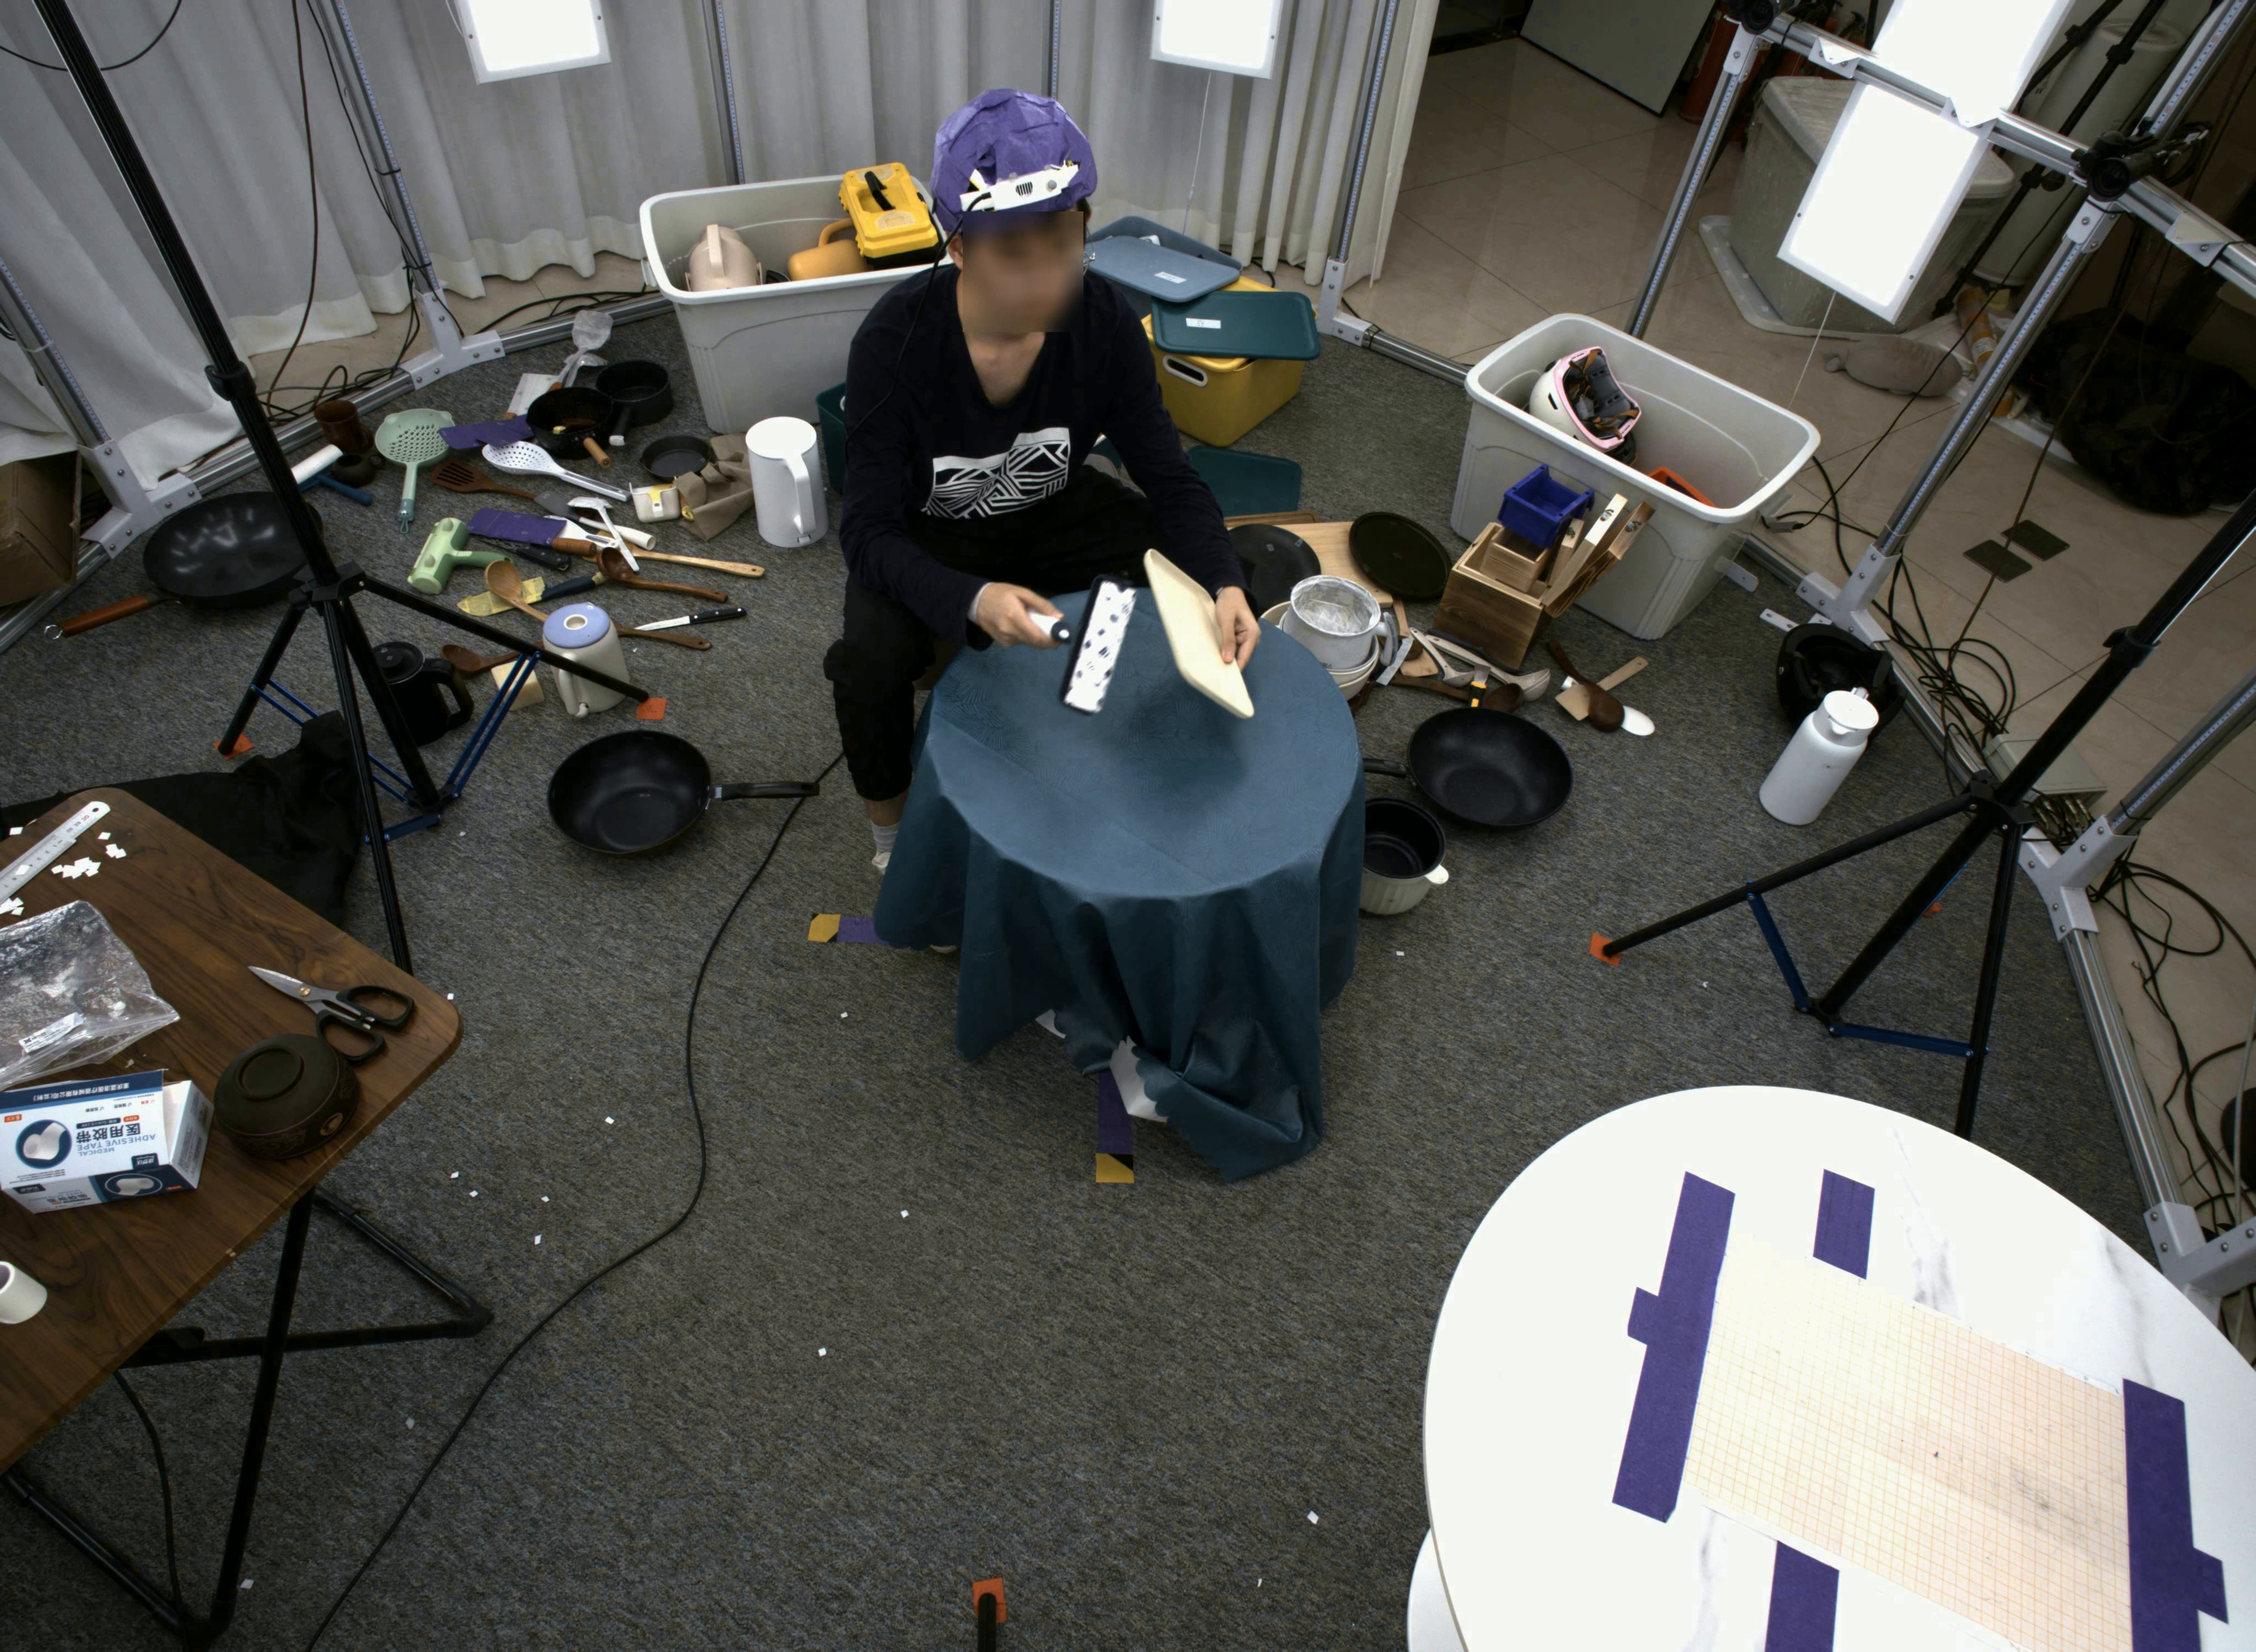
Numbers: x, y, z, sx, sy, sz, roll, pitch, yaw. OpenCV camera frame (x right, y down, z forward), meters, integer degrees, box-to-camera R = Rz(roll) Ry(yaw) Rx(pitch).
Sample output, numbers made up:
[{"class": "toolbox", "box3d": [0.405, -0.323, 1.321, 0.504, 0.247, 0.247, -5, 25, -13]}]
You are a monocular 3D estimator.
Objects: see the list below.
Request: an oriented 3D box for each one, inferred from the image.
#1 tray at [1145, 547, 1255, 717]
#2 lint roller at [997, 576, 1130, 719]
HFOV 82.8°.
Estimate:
[{"class": "tray", "box3d": [0.095, -0.261, 1.736, 0.017, 0.168, 0.245, -33, 53, 24]}, {"class": "lint roller", "box3d": [-0.105, -0.256, 1.695, 0.050, 0.175, 0.250, 10, 11, -43]}]
